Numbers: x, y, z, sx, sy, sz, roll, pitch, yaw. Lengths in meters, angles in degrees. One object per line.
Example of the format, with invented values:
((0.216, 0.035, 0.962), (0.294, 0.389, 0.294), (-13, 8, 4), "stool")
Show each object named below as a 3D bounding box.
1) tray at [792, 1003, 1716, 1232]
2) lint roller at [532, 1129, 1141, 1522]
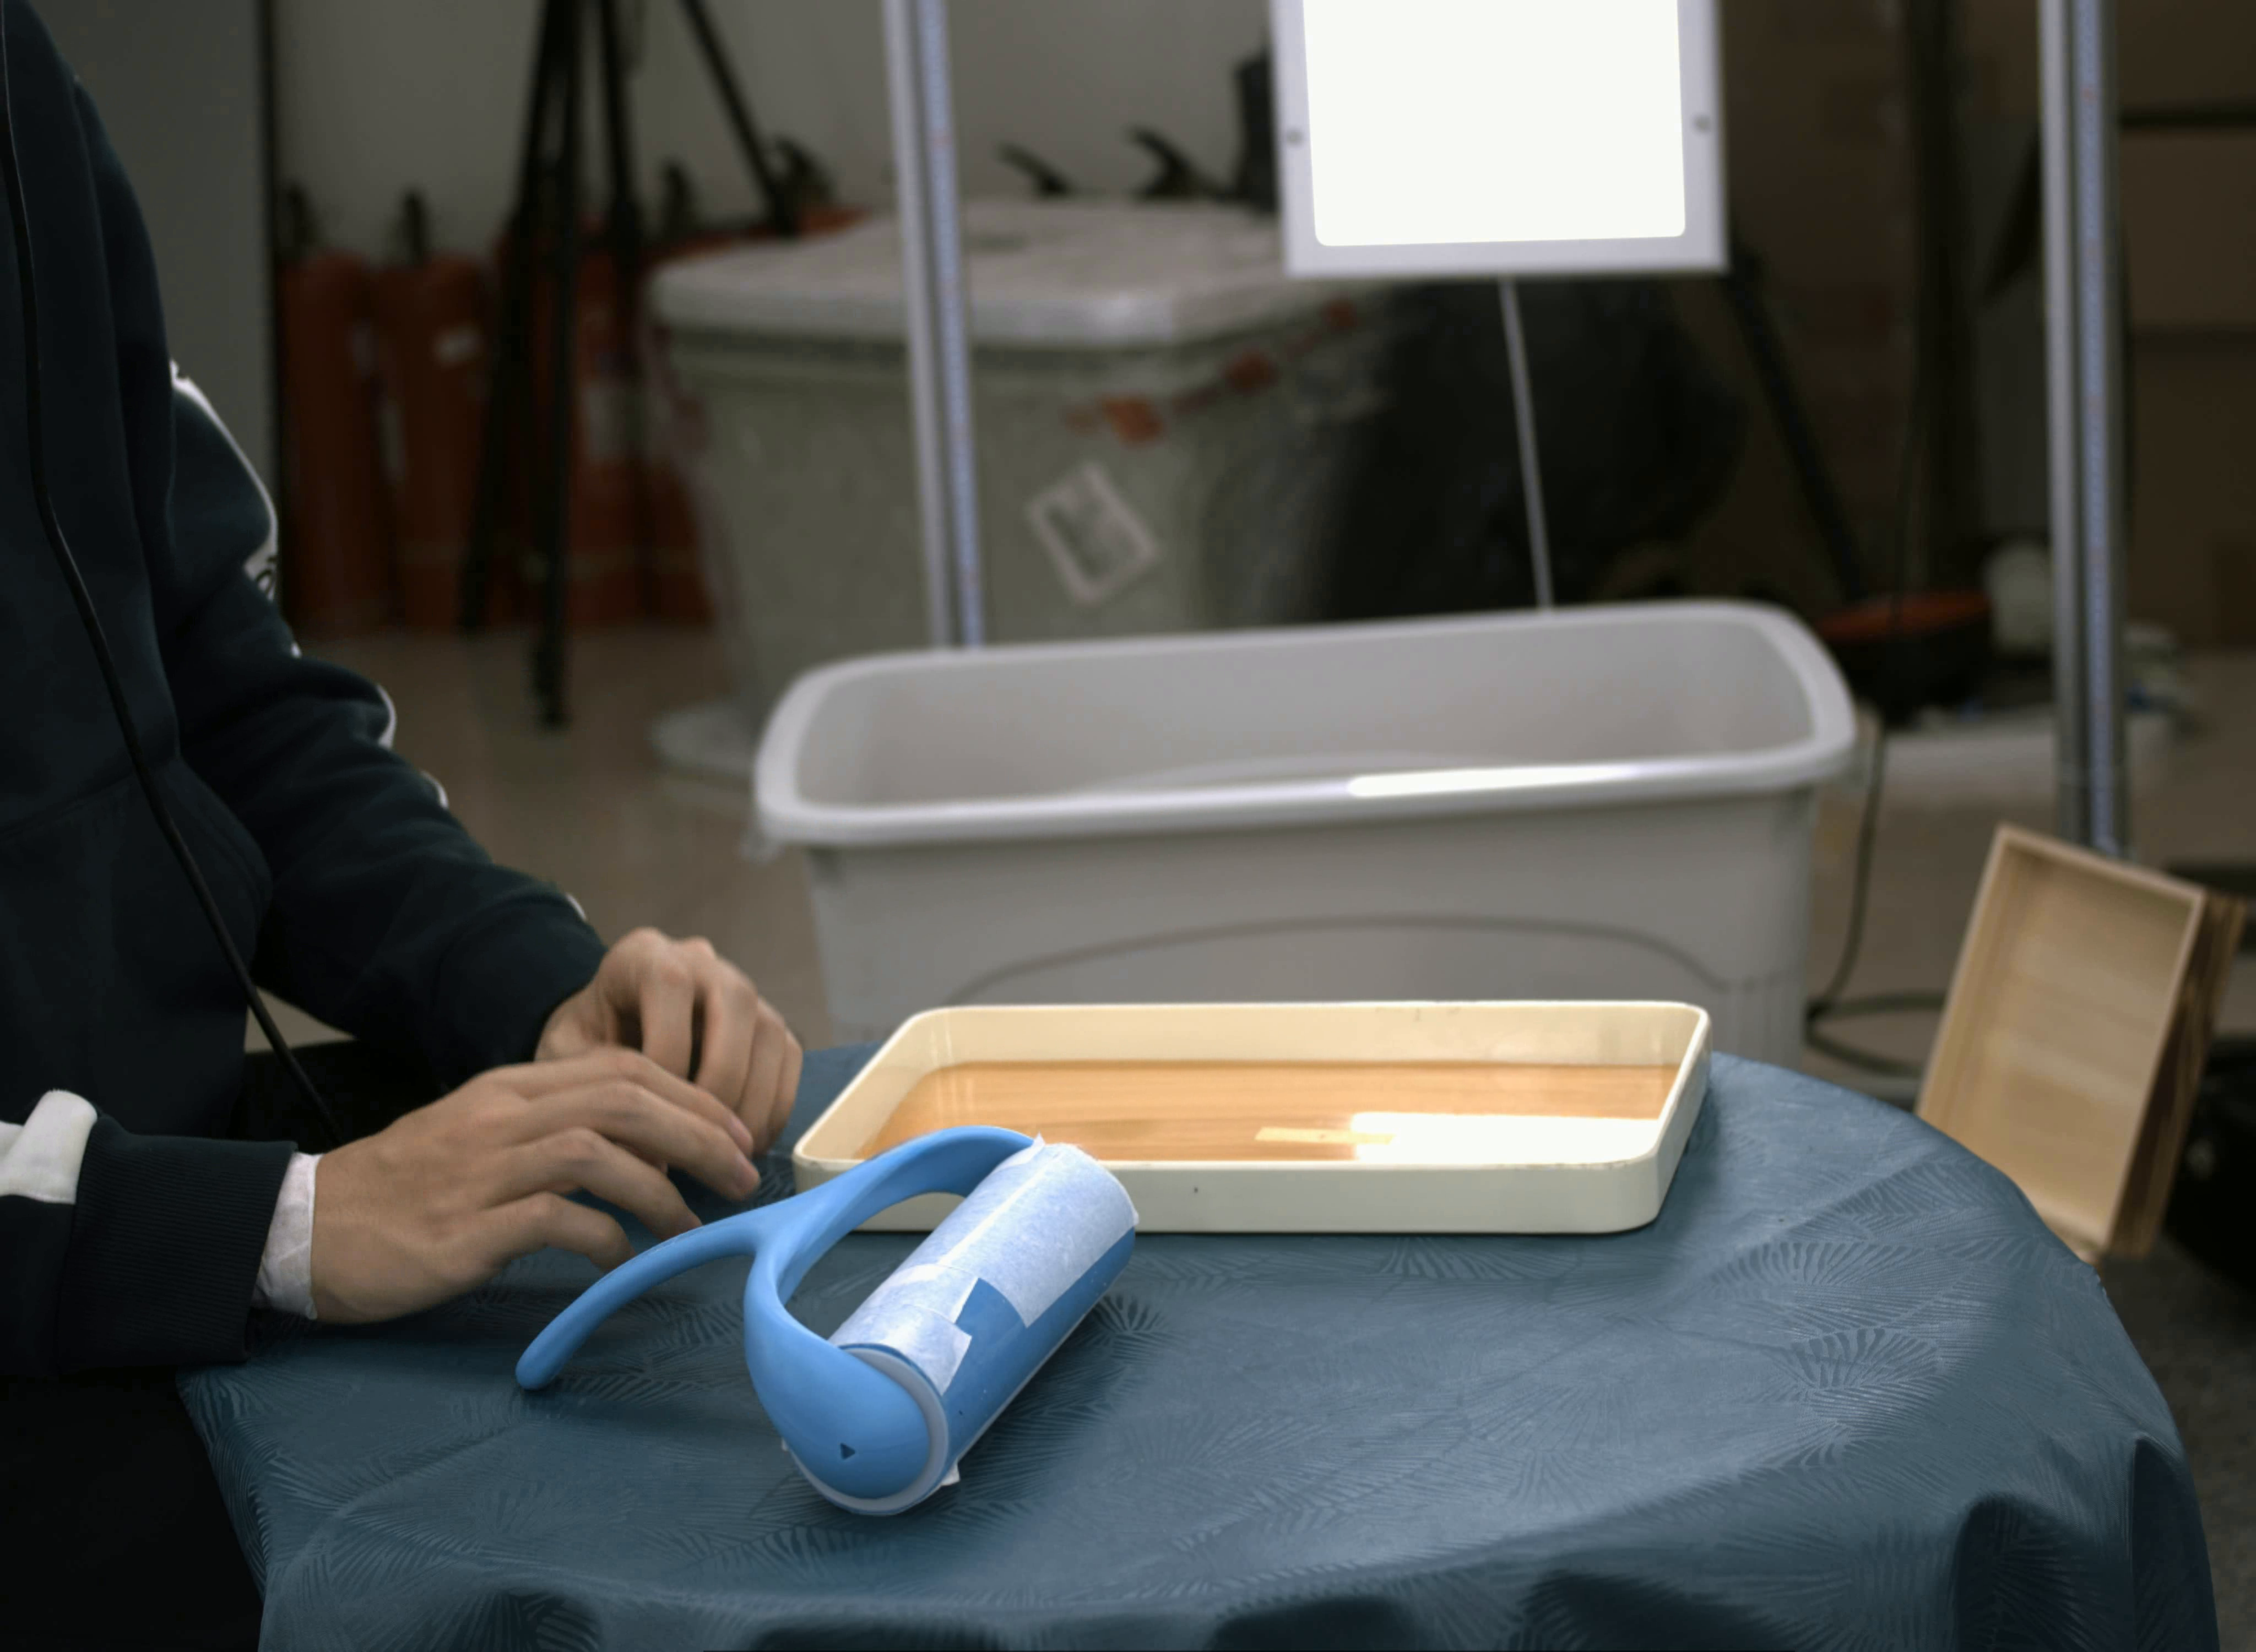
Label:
((0.048, 0.102, 1.923), (0.303, 0.027, 0.189), (-1, 14, 16), "tray")
((-0.103, 0.153, 1.711), (0.182, 0.068, 0.226), (-1, 16, 14), "lint roller")
